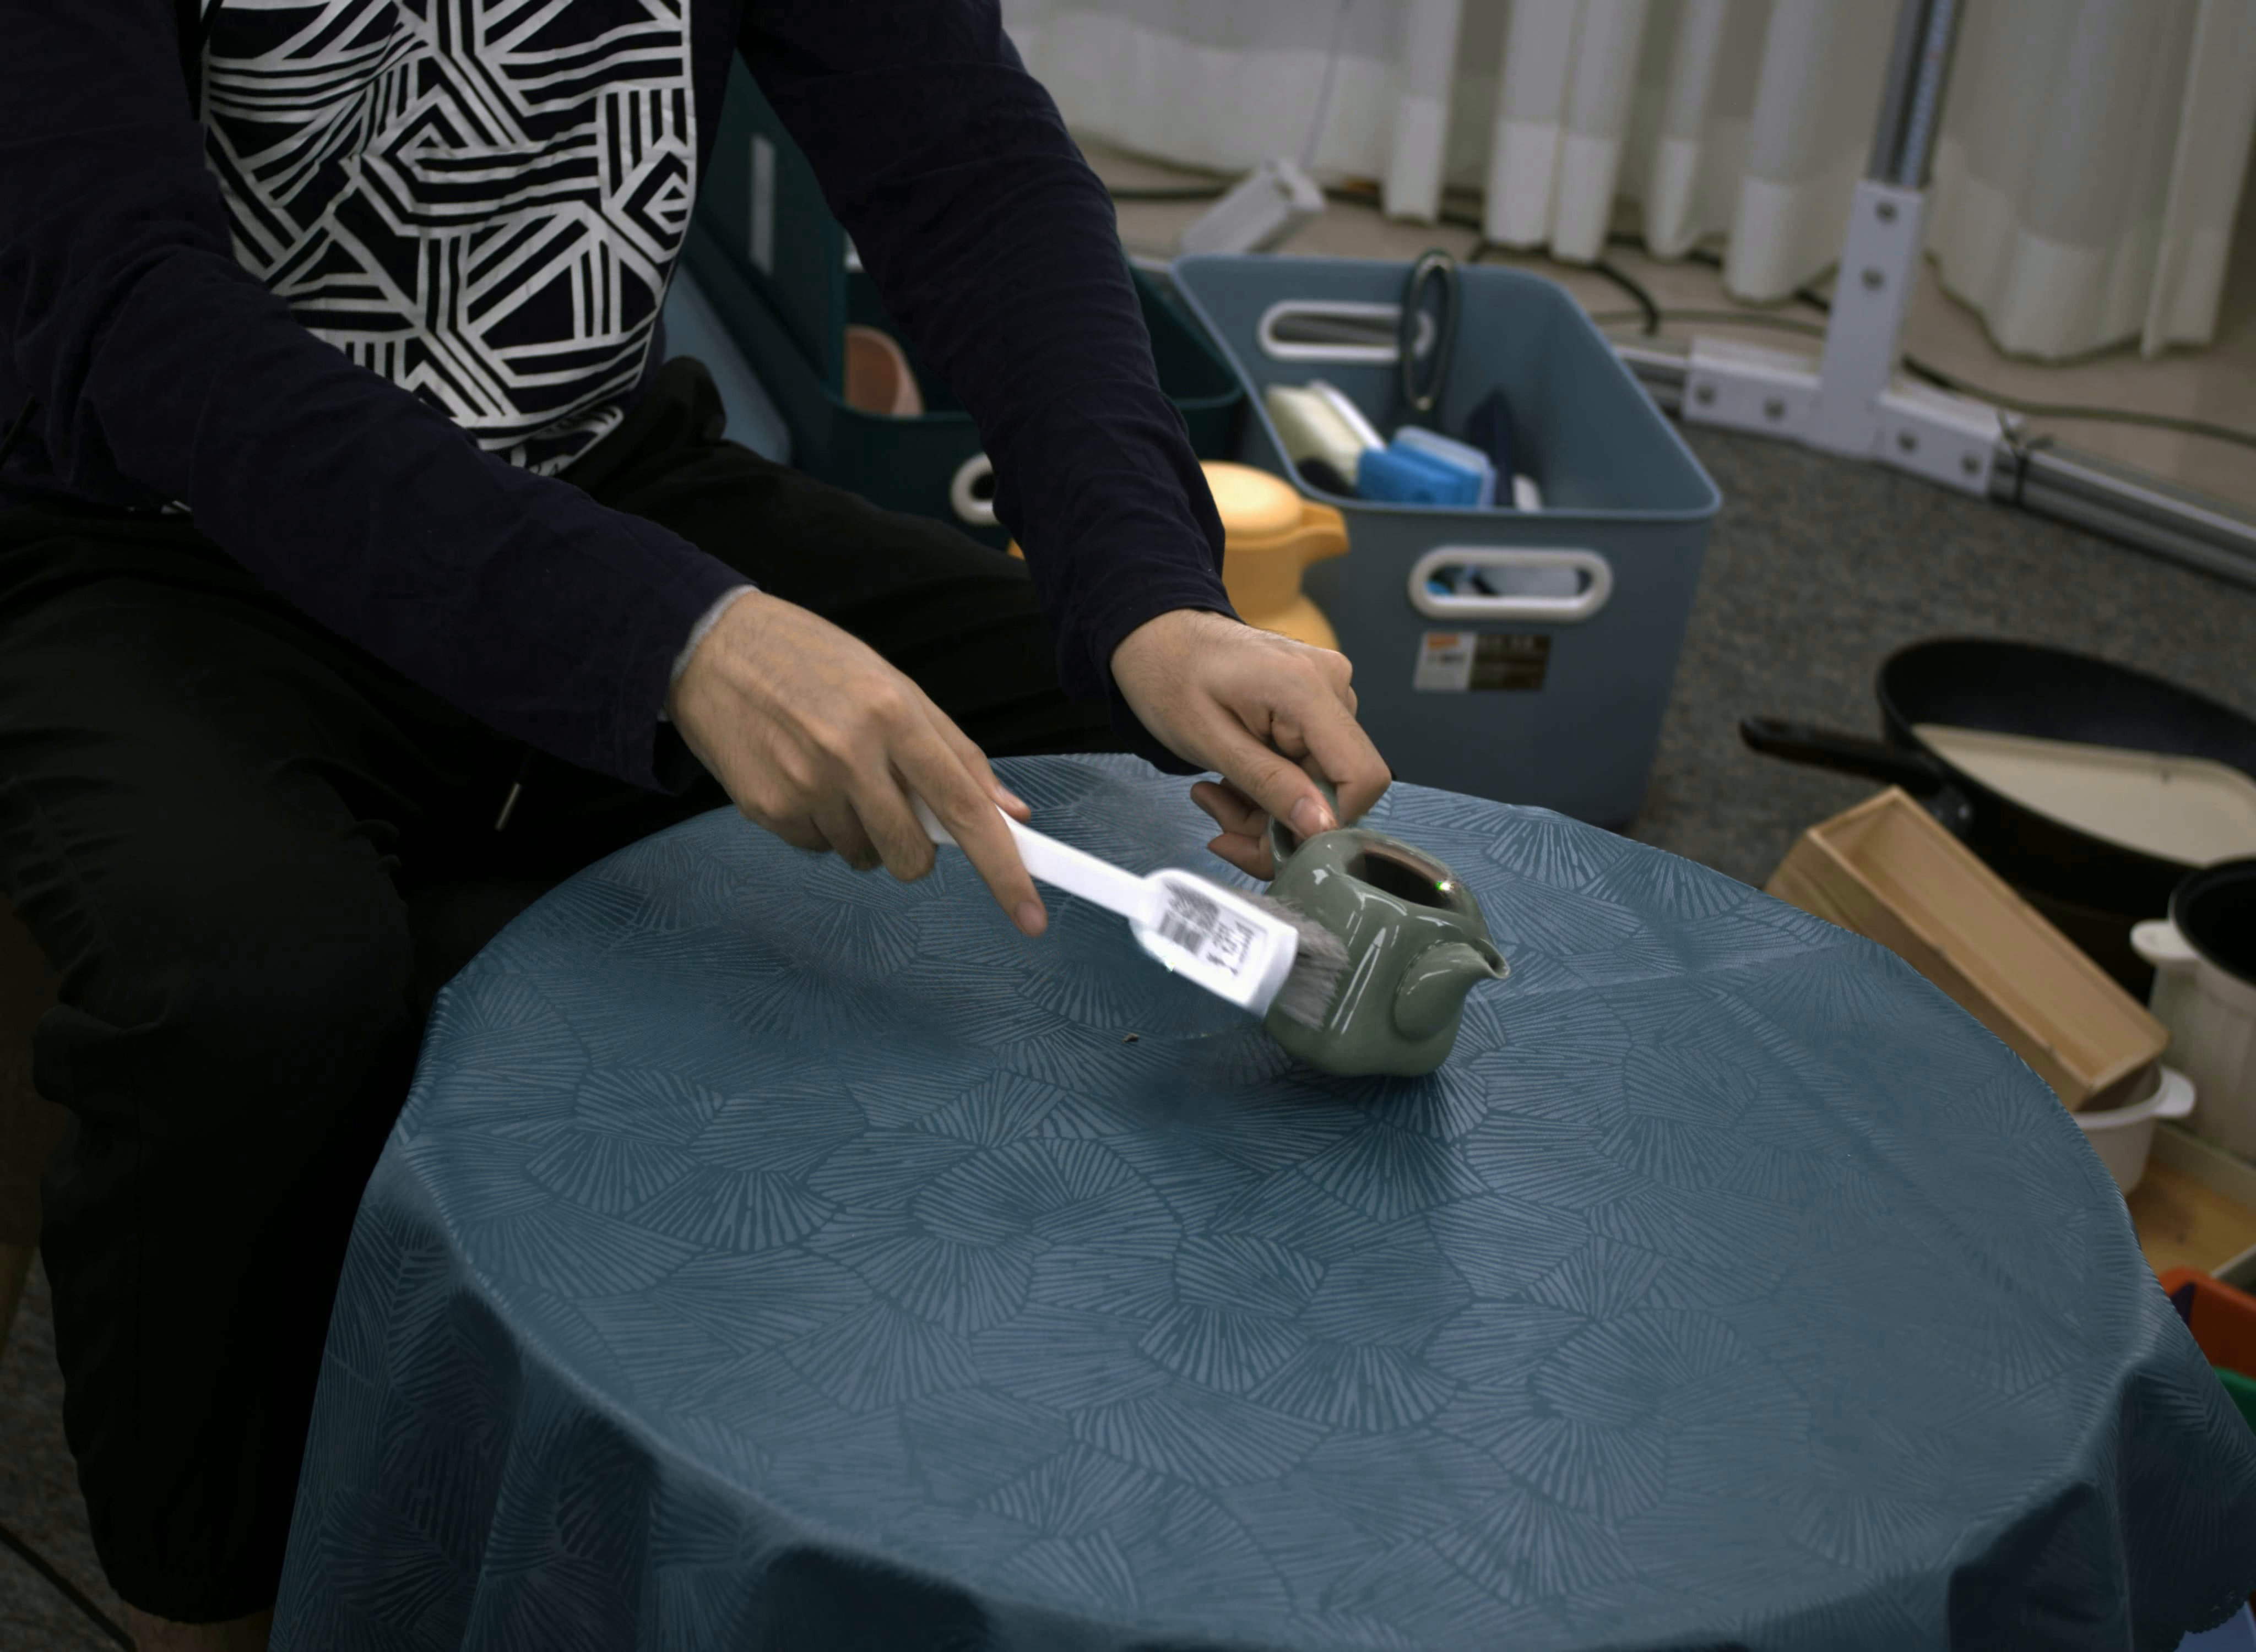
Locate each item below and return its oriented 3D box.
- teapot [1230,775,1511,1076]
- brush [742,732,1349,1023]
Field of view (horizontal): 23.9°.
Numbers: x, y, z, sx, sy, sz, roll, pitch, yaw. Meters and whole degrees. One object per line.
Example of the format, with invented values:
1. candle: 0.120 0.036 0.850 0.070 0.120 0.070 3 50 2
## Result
1. teapot: 0.083 0.042 1.889 0.079 0.075 0.134 4 30 -41
2. brush: -0.030 0.015 1.889 0.245 0.034 0.050 22 11 28
